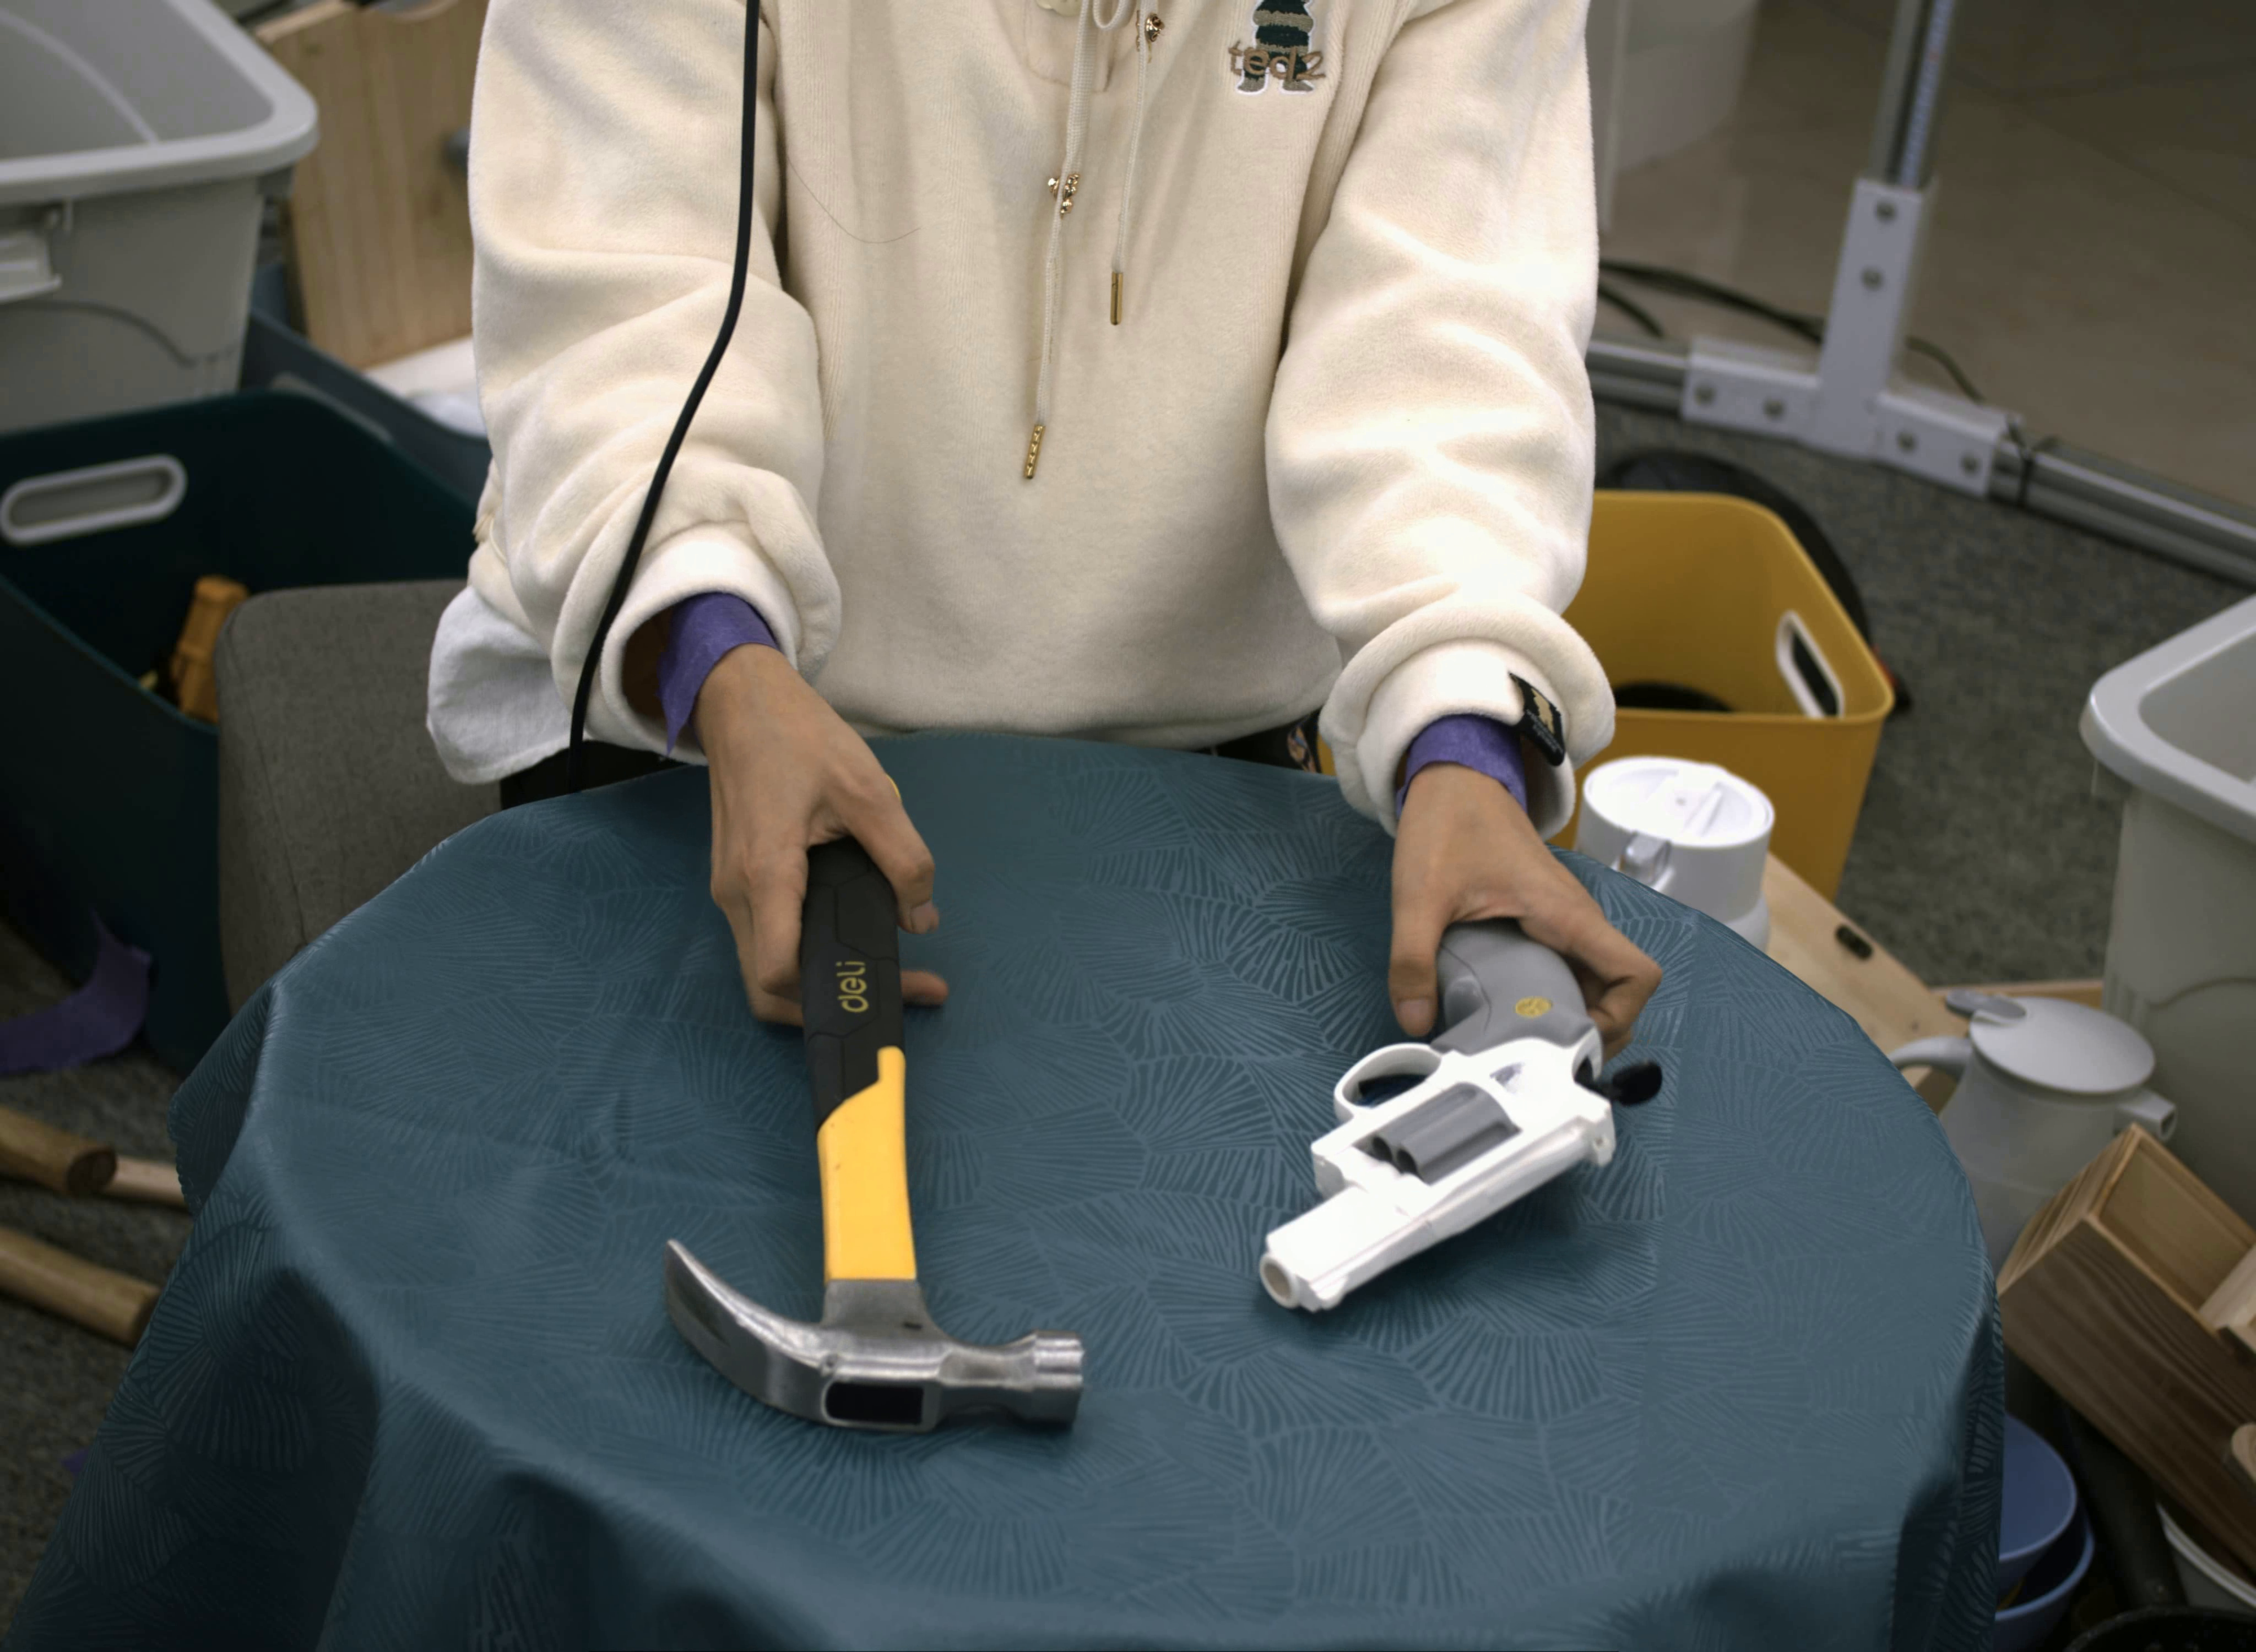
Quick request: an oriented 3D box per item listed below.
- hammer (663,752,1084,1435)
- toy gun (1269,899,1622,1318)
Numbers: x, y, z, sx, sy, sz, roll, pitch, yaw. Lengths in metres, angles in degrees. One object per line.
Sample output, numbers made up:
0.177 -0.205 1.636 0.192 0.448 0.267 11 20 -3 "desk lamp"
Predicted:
-0.090 0.080 1.785 0.131 0.032 0.341 1 36 -5 "hammer"
0.097 0.095 1.824 0.208 0.038 0.143 -28 36 -33 "toy gun"
